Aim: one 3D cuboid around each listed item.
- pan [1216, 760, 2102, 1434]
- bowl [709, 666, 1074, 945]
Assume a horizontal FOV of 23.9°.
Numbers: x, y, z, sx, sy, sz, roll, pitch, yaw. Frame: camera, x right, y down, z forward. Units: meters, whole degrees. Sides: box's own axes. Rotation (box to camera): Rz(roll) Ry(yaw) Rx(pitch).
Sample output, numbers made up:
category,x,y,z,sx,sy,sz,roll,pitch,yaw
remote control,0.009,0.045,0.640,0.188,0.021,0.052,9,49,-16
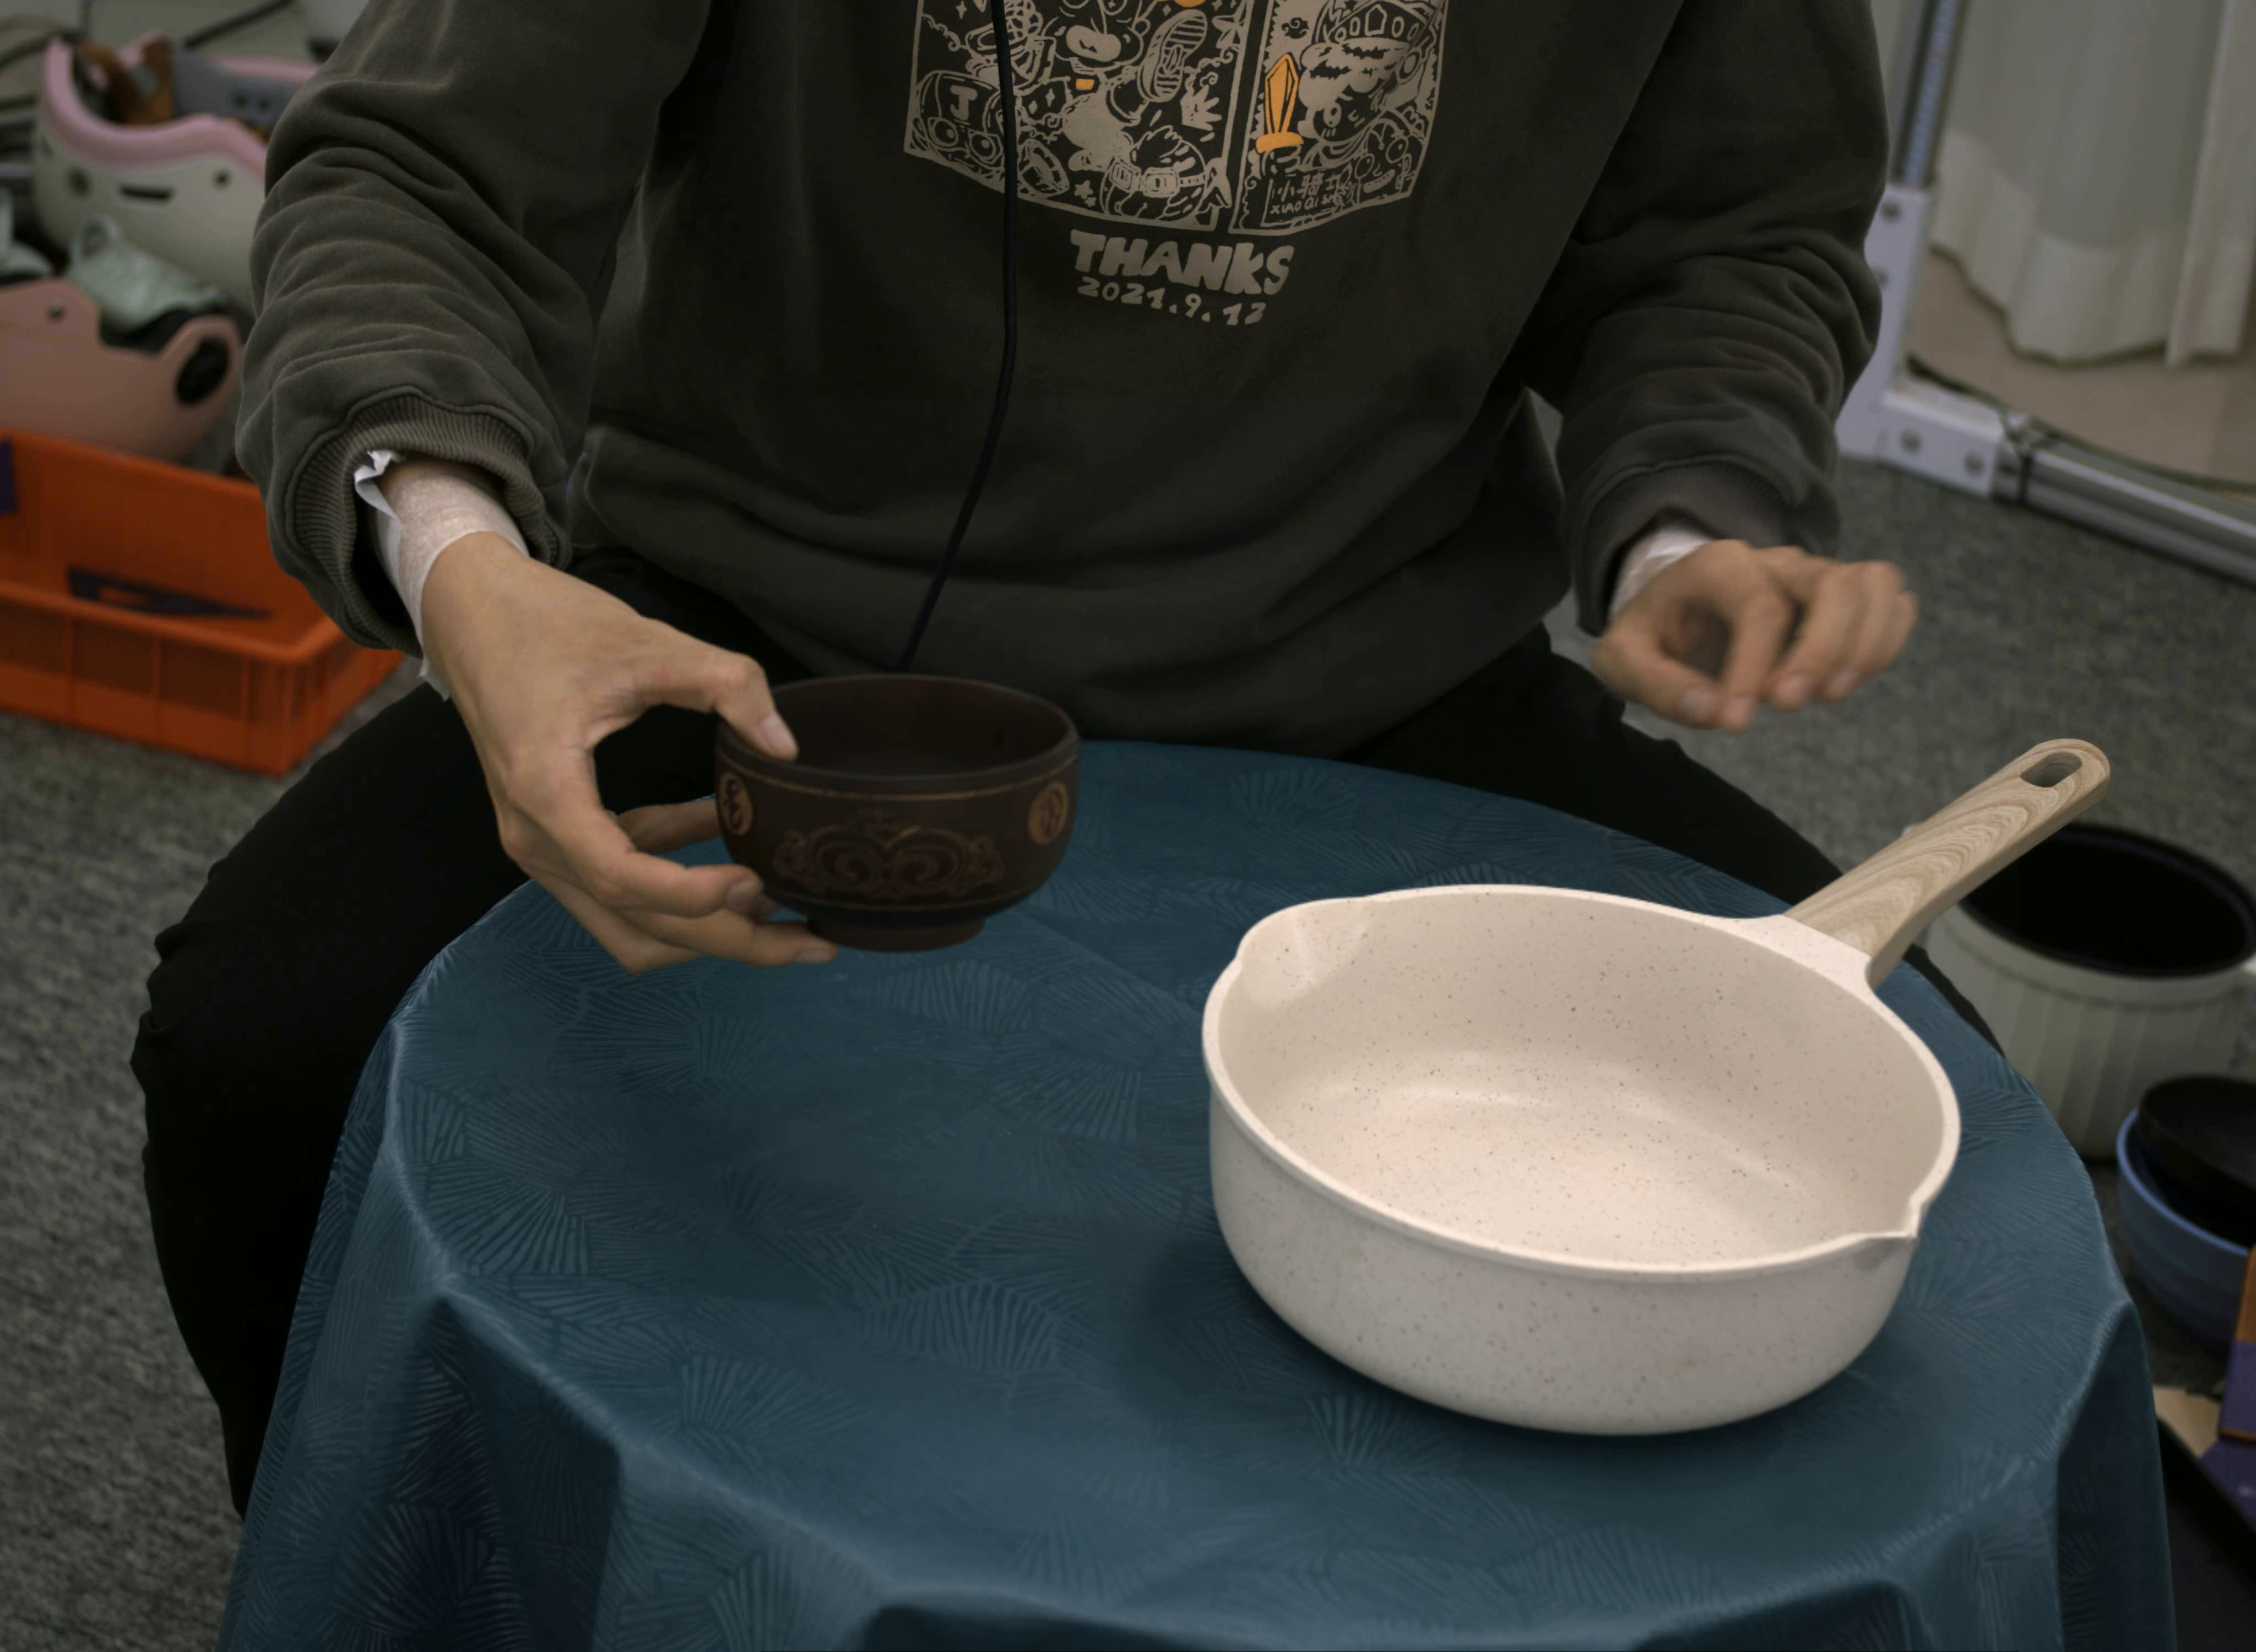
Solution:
category,x,y,z,sx,sy,sz,roll,pitch,yaw
pan,0.209,0.083,1.823,0.265,0.101,0.433,24,31,34
bowl,-0.076,-0.003,1.709,0.117,0.070,0.118,-1,17,0
